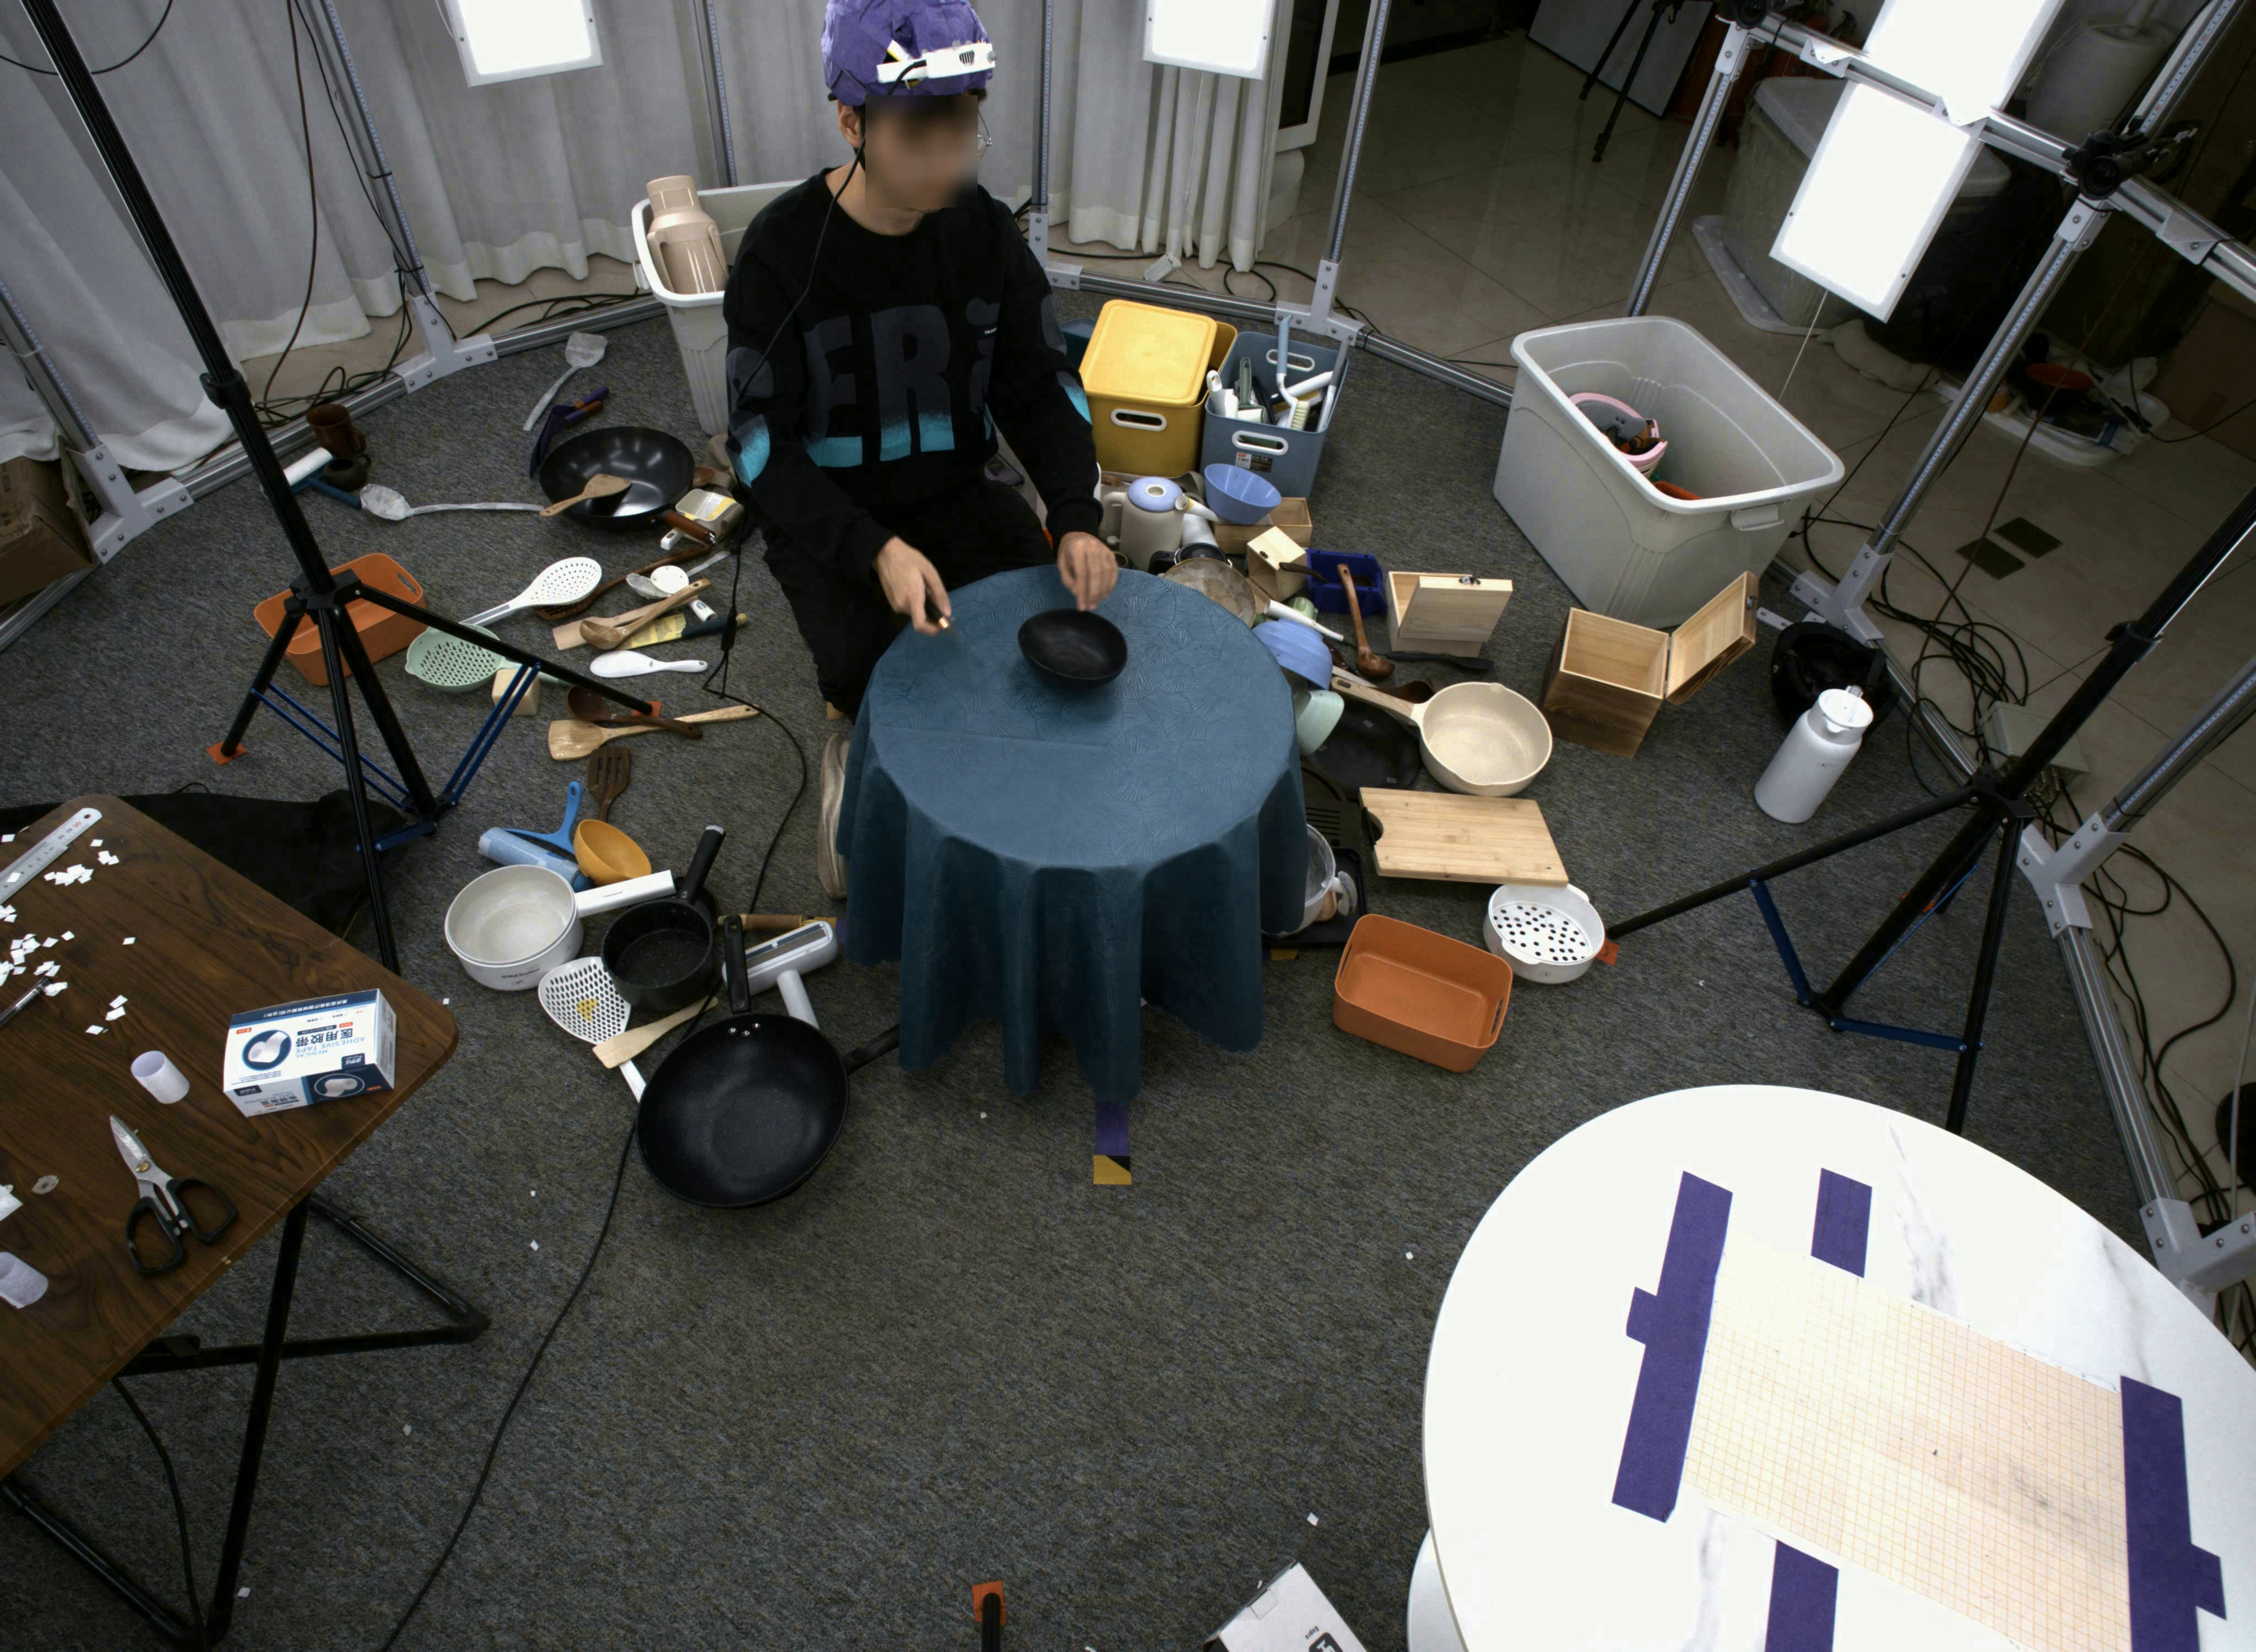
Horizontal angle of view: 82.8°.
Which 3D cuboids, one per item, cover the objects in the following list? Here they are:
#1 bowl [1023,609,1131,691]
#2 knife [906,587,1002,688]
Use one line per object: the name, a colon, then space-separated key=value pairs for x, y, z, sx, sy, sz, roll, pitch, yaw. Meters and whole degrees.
bowl: x=-0.075 y=-0.240 z=1.831 sx=0.172 sy=0.065 sz=0.139 roll=31 pitch=54 yaw=24
knife: x=-0.240 y=-0.260 z=1.766 sx=0.017 sy=0.026 sz=0.229 roll=-48 pitch=60 yaw=8
